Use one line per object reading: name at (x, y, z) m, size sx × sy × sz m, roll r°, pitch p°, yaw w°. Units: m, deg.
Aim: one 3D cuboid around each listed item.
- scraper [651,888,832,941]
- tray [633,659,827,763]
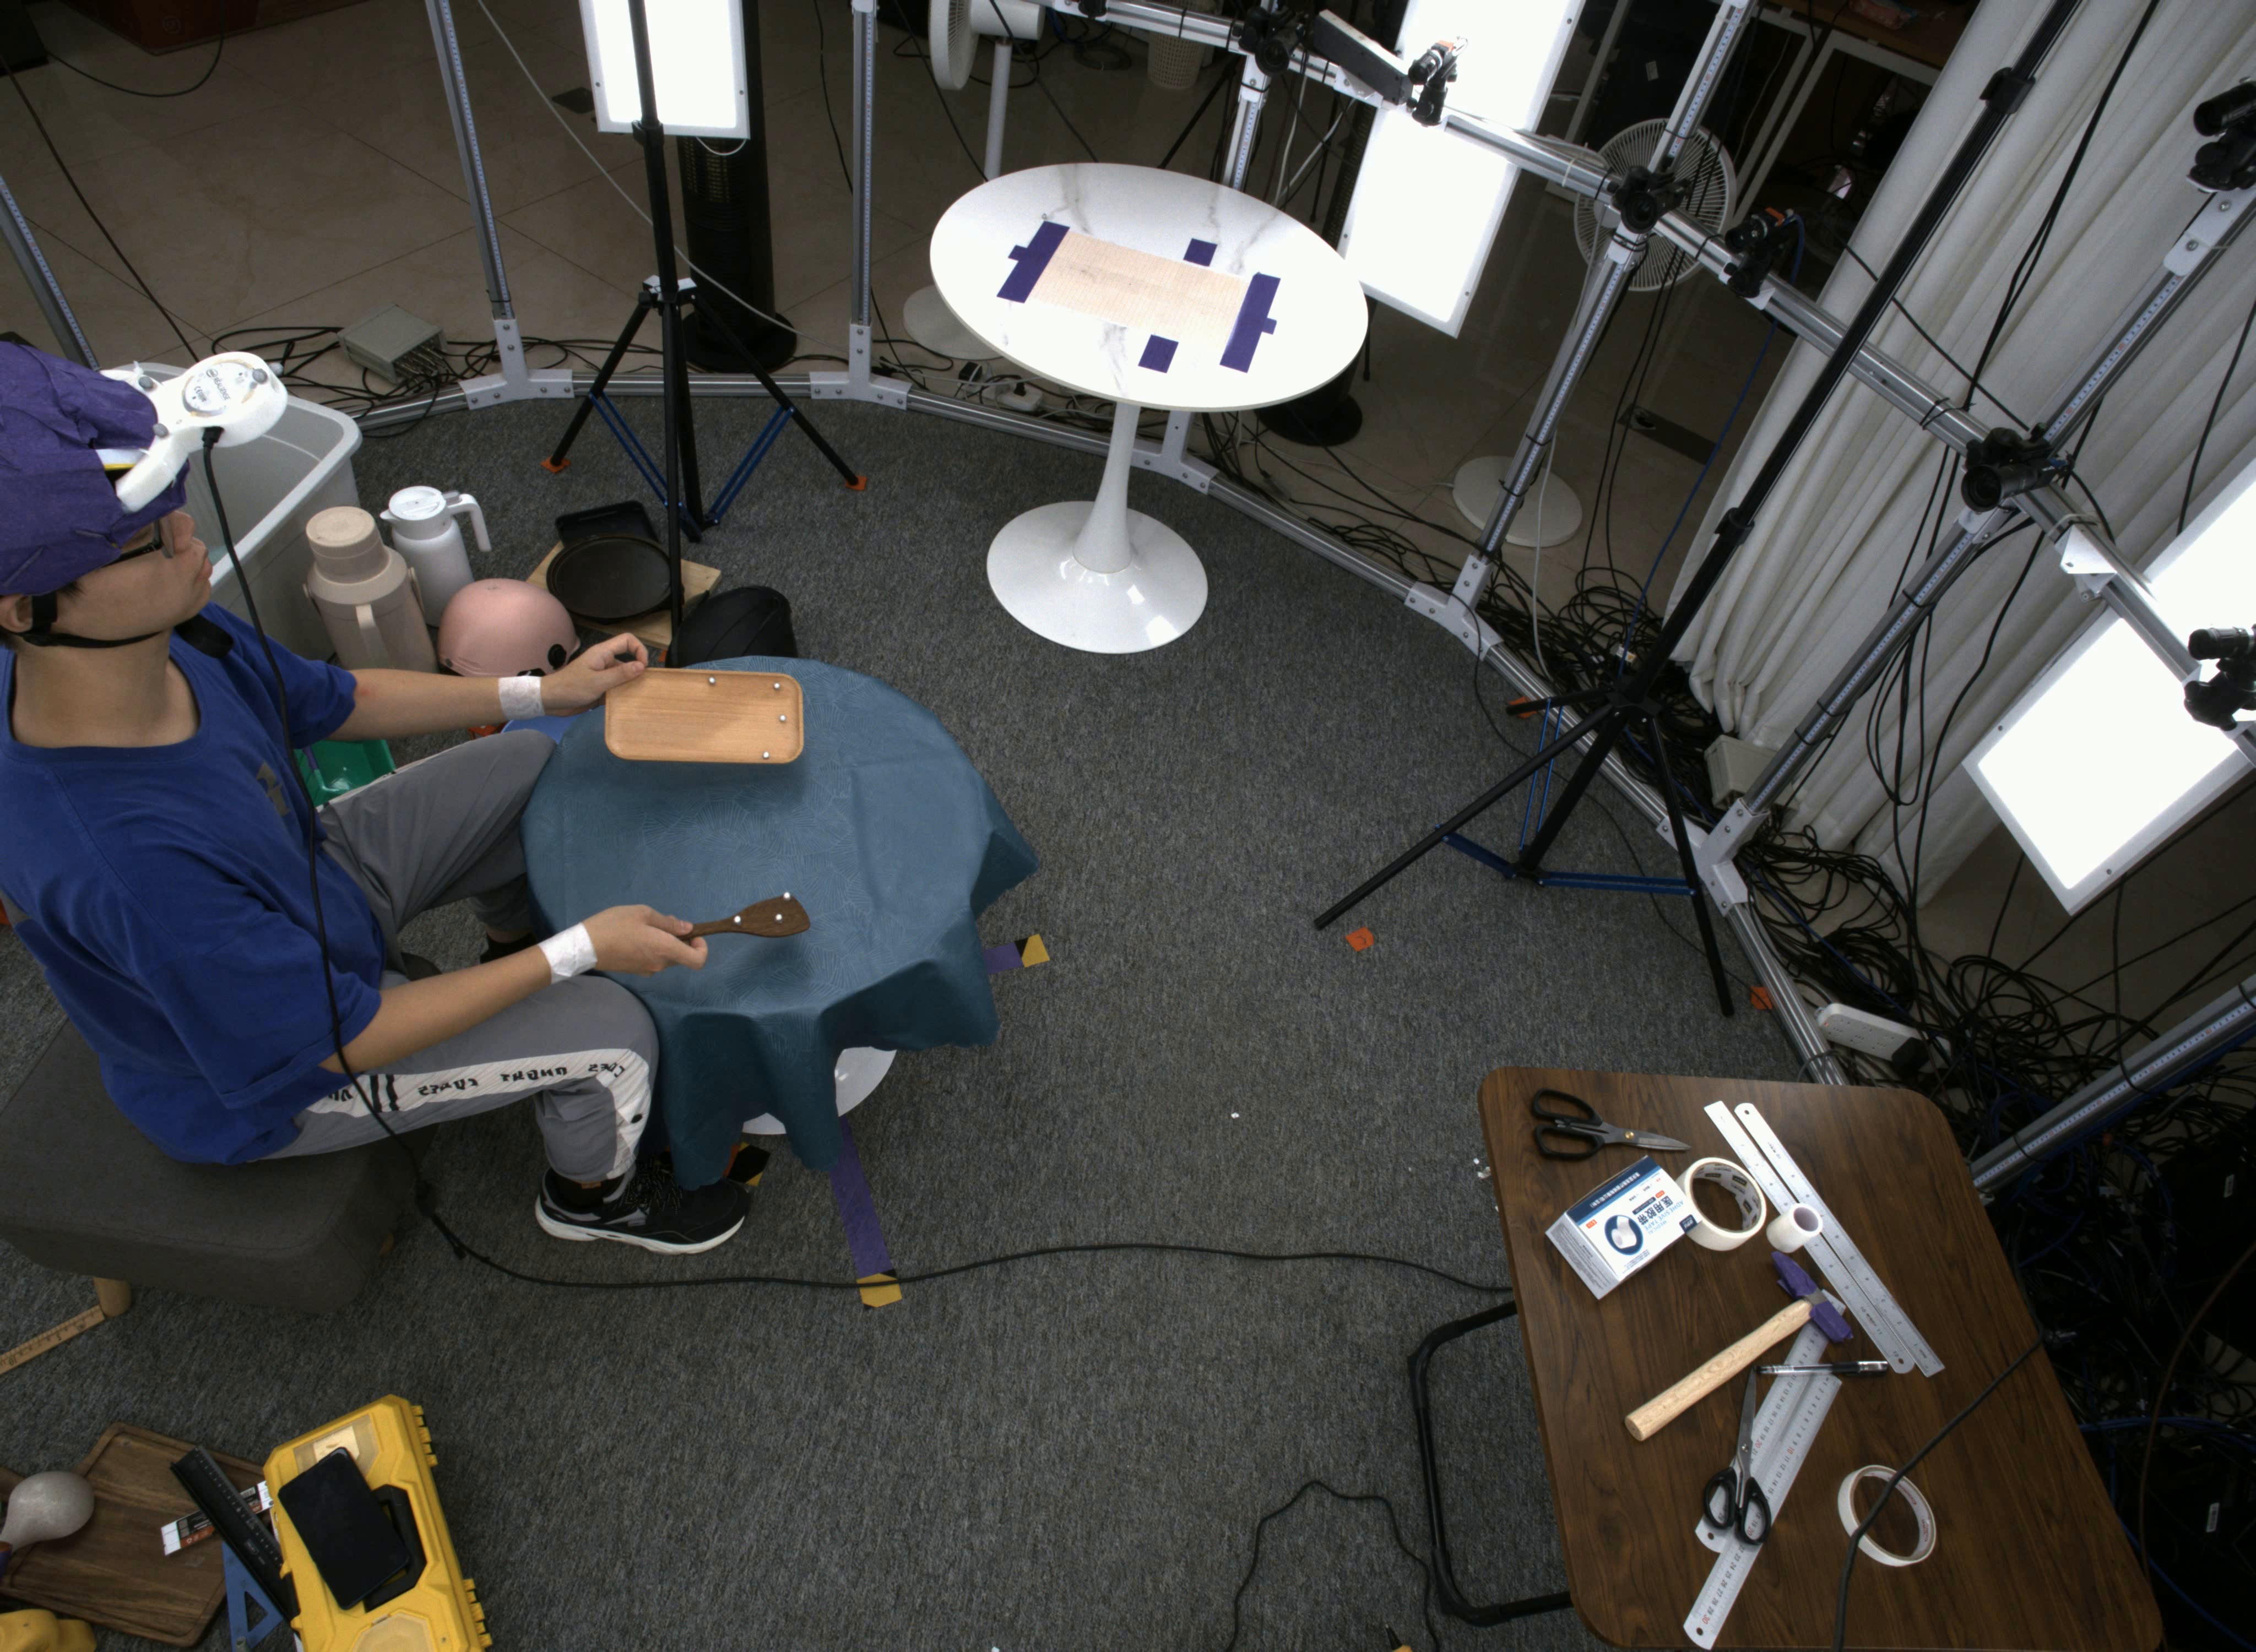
scraper at (-0.462, 0.111, 1.545) m, size 0.214 × 0.011 × 0.073 m, roll -7°, pitch 42°, yaw -32°
tray at (-0.524, -0.150, 1.699) m, size 0.253 × 0.023 × 0.130 m, roll 3°, pitch 74°, yaw -21°
